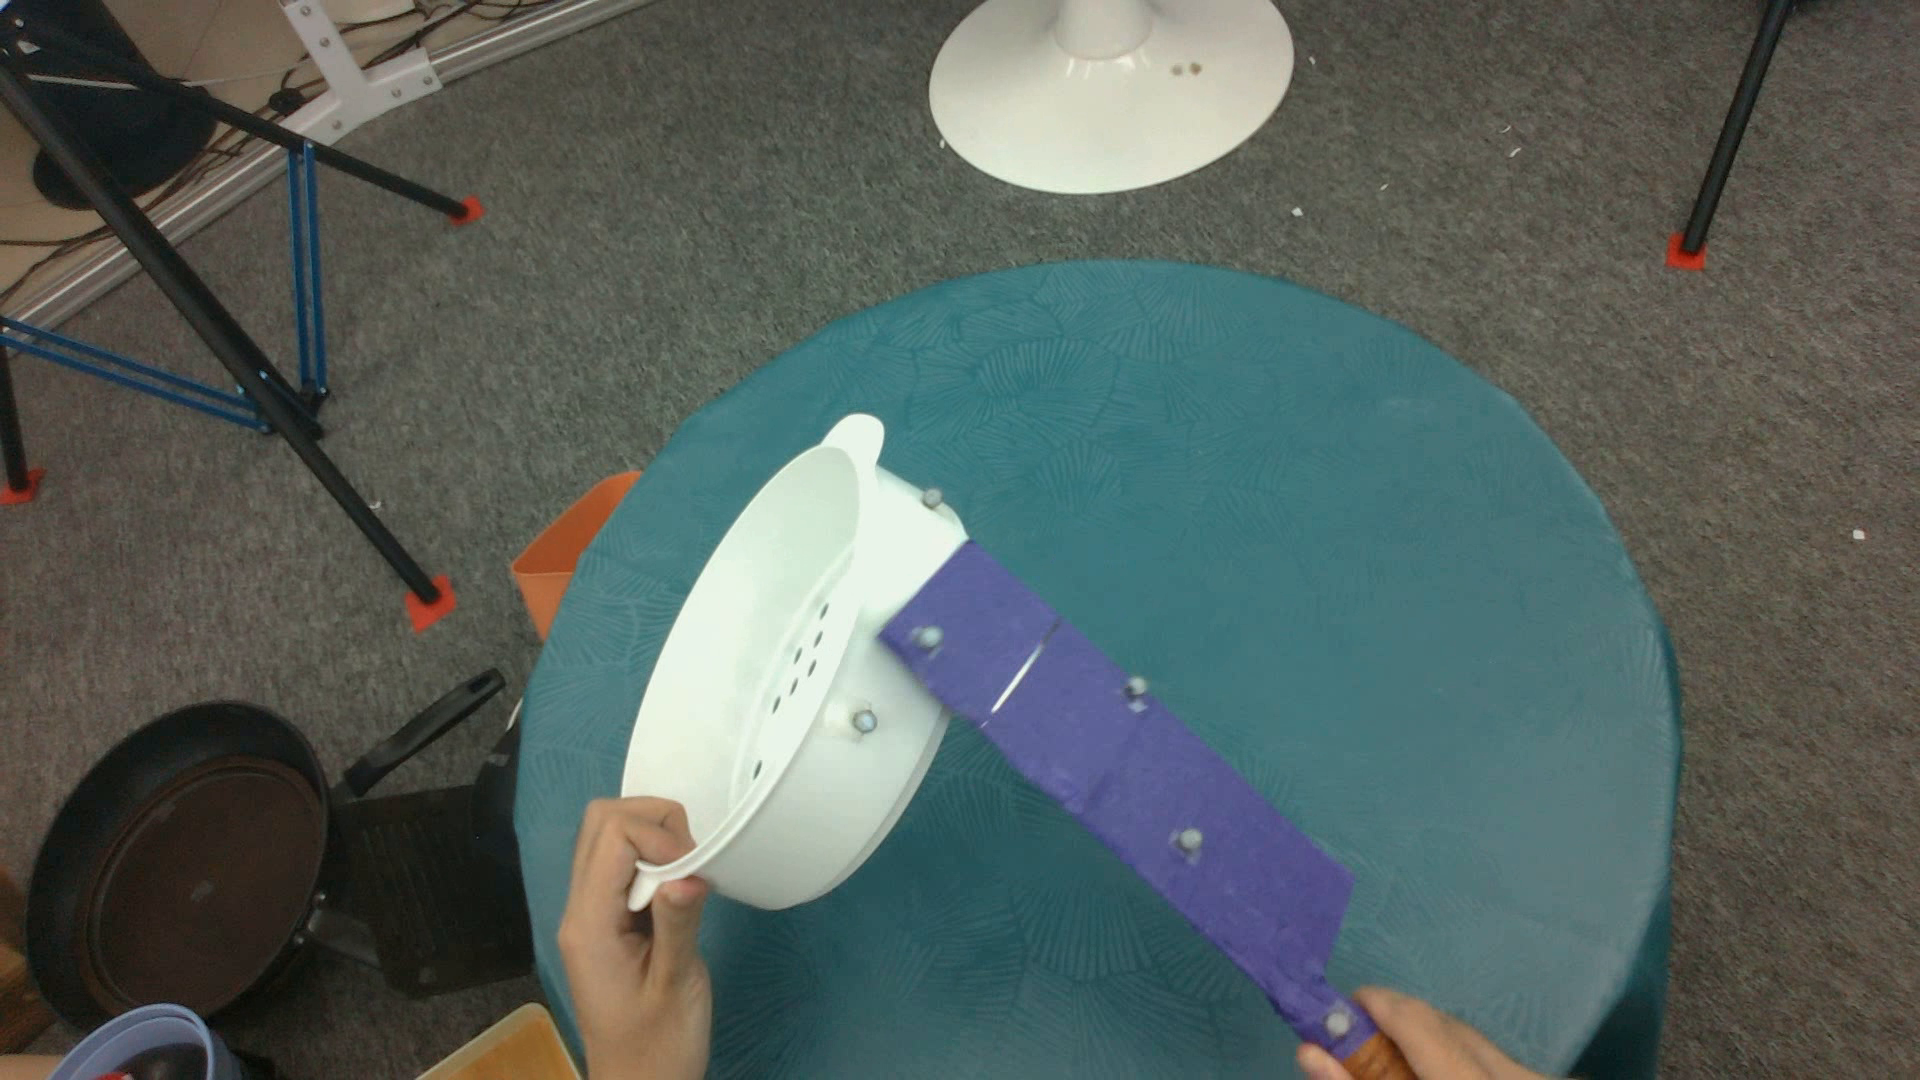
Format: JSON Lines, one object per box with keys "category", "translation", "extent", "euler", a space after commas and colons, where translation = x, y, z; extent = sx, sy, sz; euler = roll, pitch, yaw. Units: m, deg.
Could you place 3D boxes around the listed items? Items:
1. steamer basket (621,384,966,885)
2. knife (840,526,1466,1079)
{"category": "steamer basket", "translation": [-0.073, 0.047, 0.604], "extent": [0.230, 0.069, 0.202], "euler": [-66, 25, -2]}
{"category": "knife", "translation": [0.094, 0.110, 0.522], "extent": [0.315, 0.032, 0.104], "euler": [43, 38, 0]}
